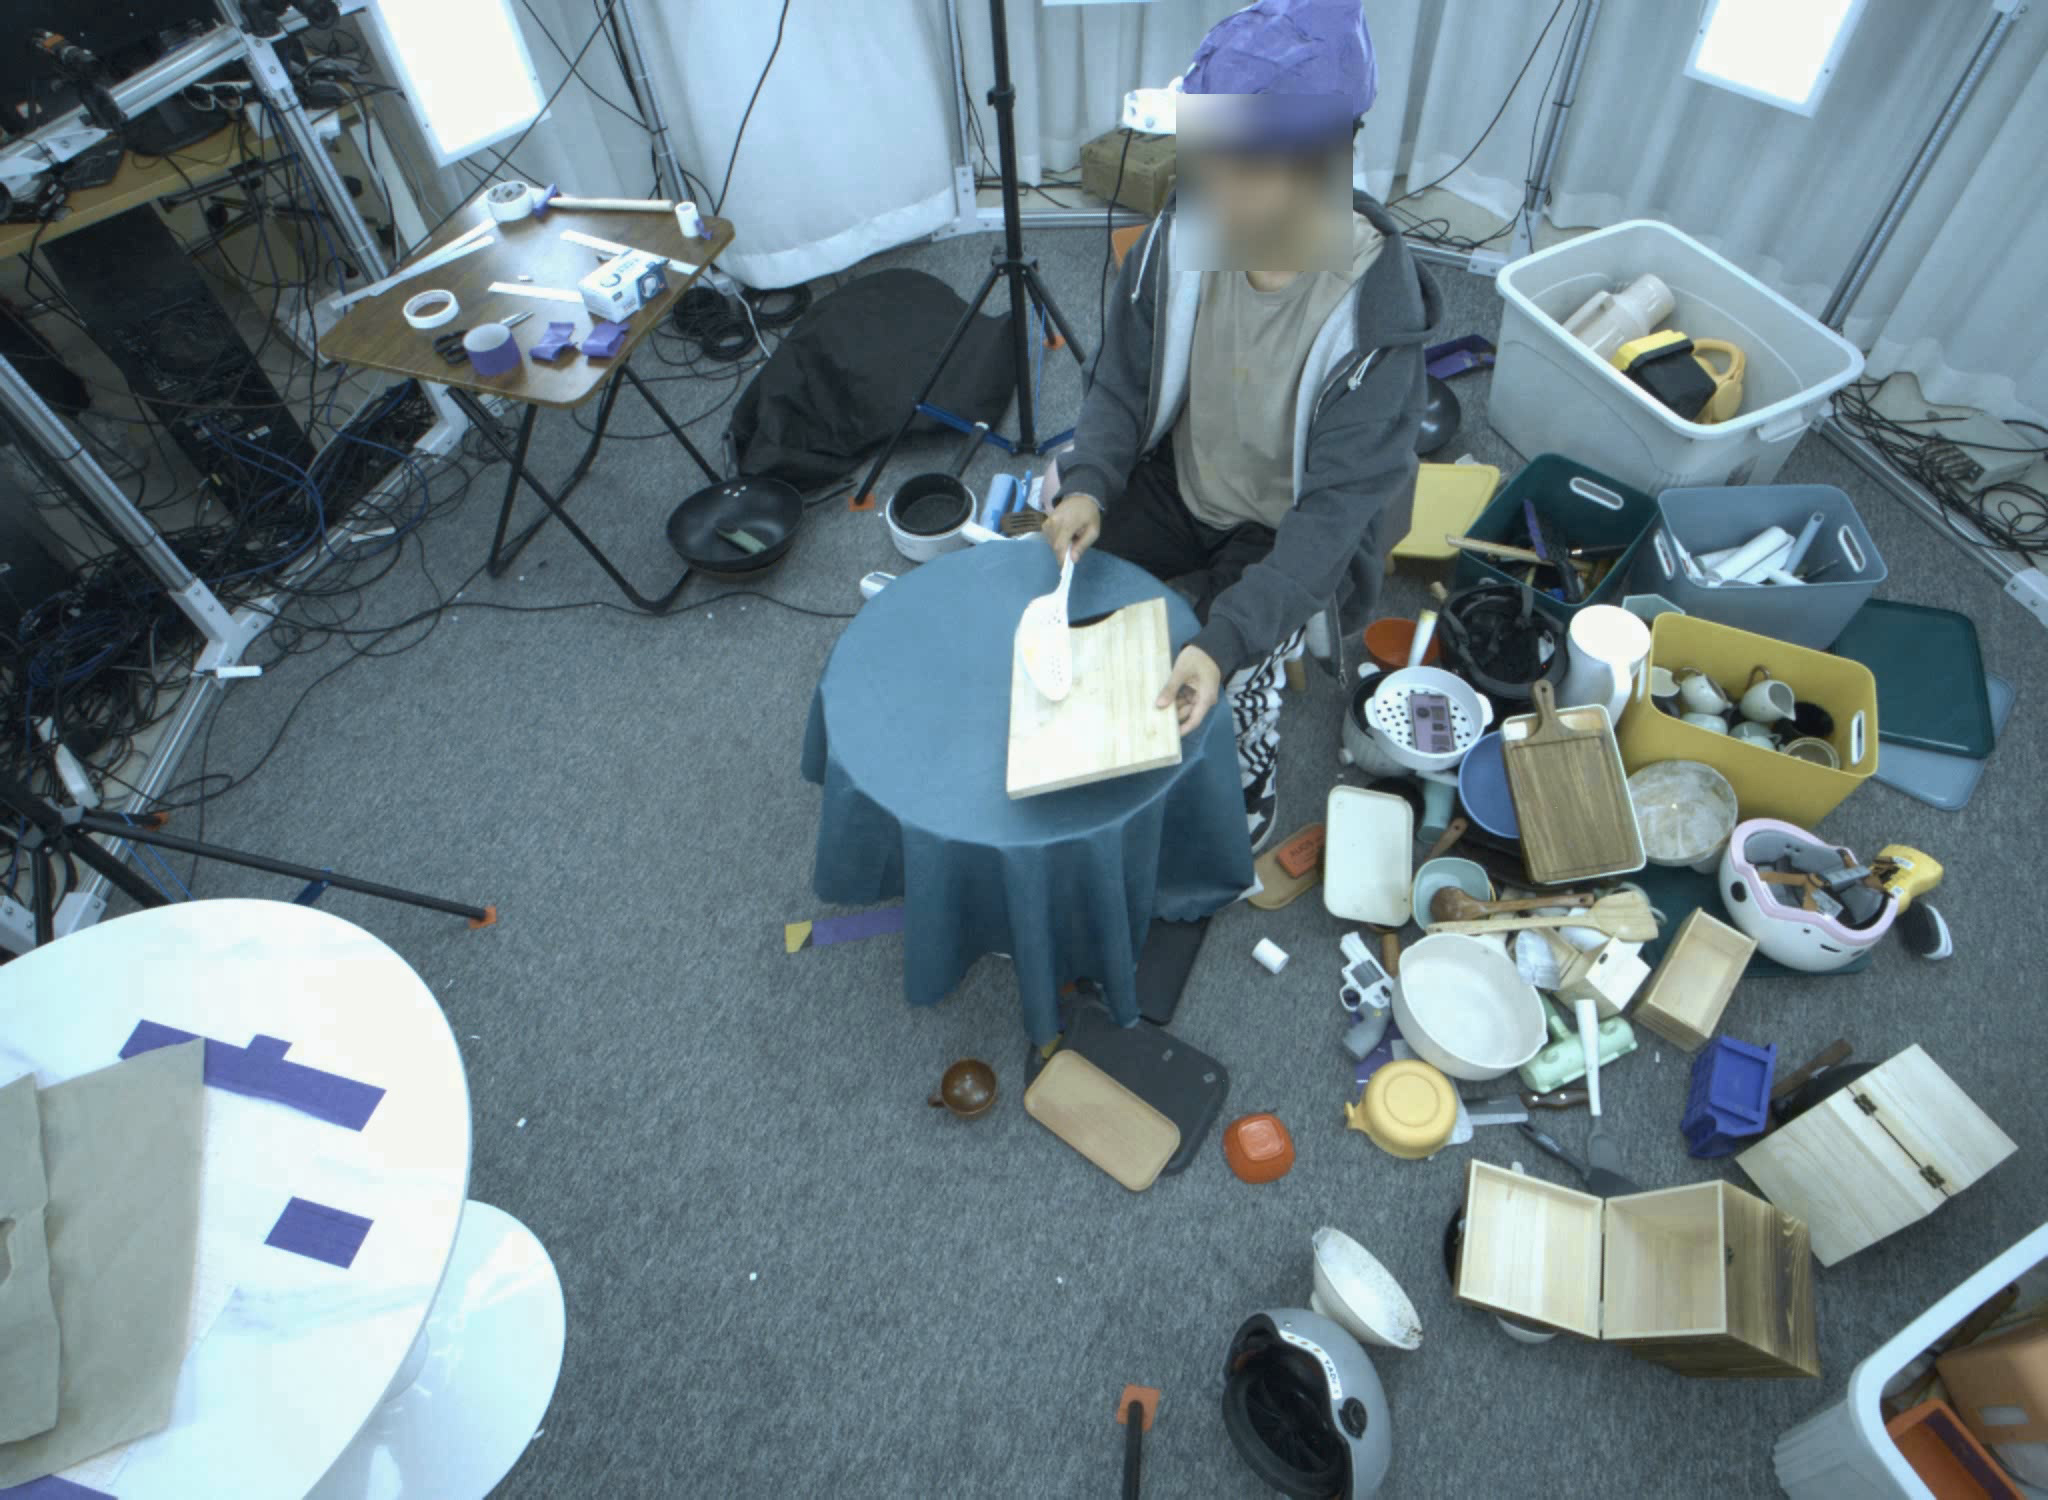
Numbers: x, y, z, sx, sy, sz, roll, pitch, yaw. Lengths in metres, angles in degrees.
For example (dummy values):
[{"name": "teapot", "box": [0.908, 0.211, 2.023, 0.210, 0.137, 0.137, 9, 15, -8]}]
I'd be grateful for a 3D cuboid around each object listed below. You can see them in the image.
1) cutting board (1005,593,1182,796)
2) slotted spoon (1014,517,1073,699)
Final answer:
[{"name": "cutting board", "box": [0.097, -0.084, 1.765, 0.249, 0.024, 0.345, -13, 43, 12]}, {"name": "slotted spoon", "box": [0.042, -0.222, 1.806, 0.049, 0.140, 0.346, -11, 47, 34]}]
